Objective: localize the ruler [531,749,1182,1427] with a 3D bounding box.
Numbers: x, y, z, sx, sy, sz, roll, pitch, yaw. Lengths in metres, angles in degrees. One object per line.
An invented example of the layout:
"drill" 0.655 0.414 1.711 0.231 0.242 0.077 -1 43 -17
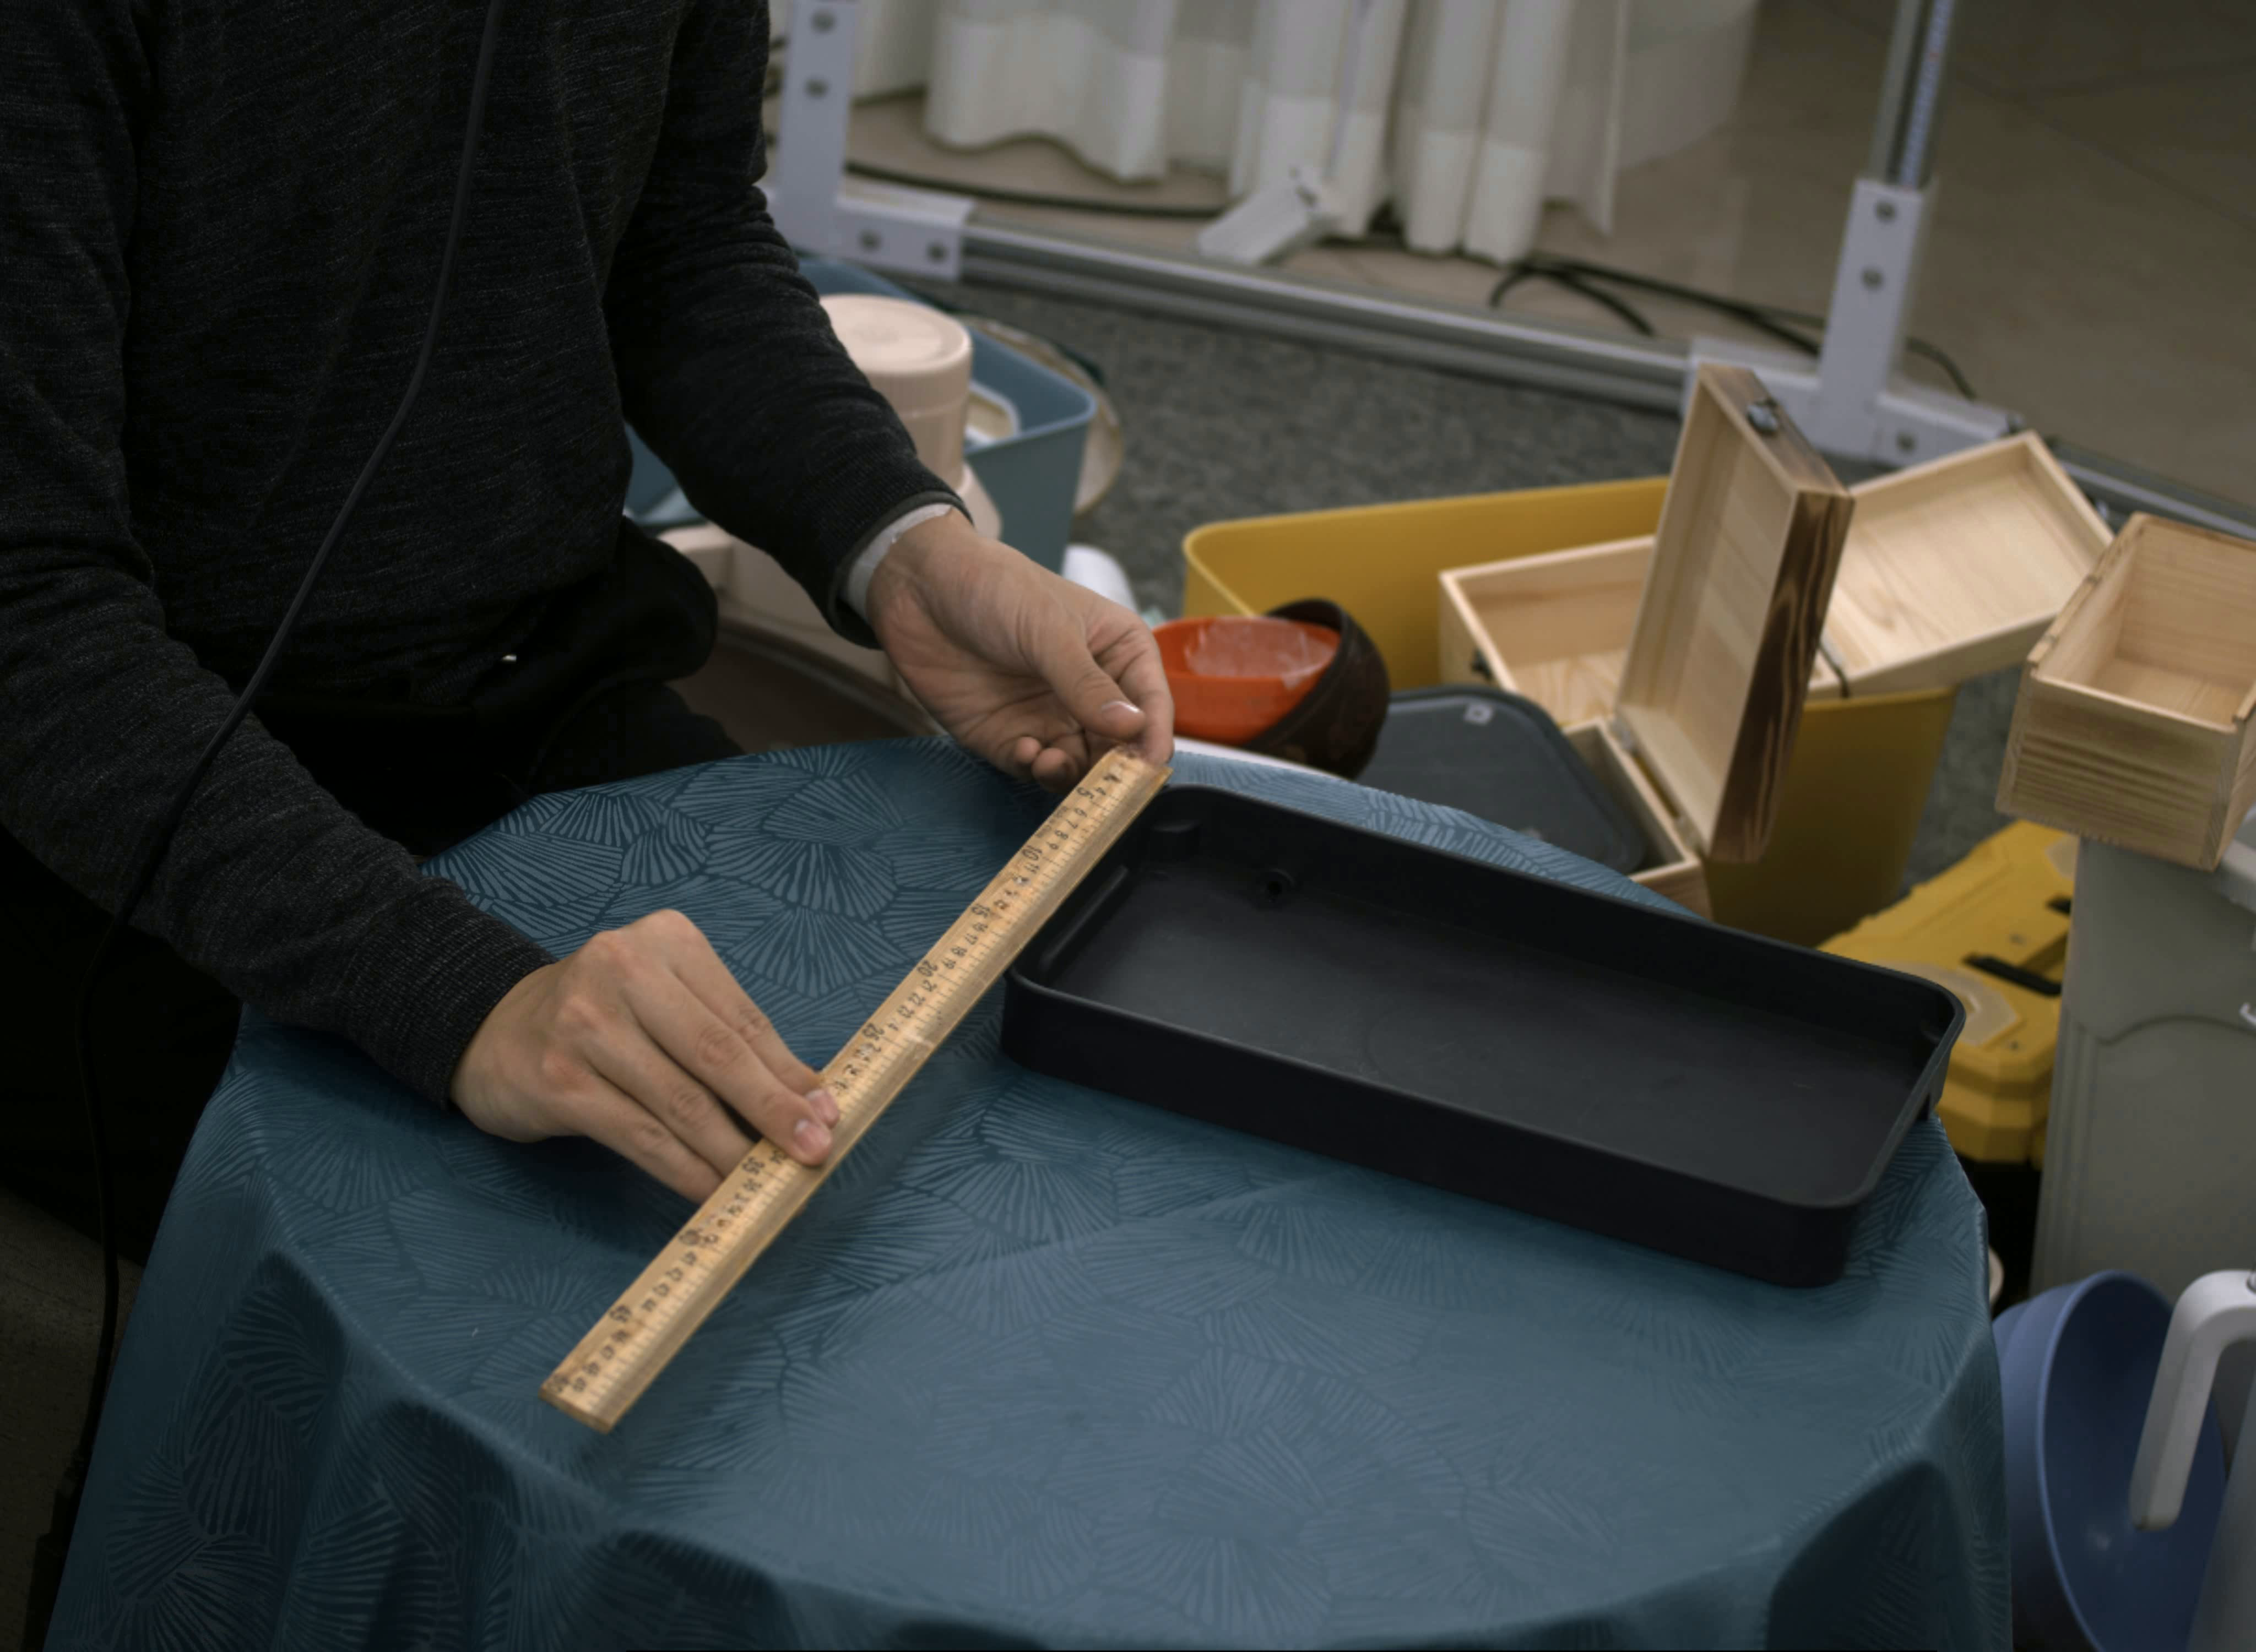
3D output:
"ruler" -0.080 0.074 1.795 0.027 0.006 0.501 25 31 10

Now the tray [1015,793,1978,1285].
"tray" 0.131 0.072 1.894 0.318 0.037 0.184 14 27 16
